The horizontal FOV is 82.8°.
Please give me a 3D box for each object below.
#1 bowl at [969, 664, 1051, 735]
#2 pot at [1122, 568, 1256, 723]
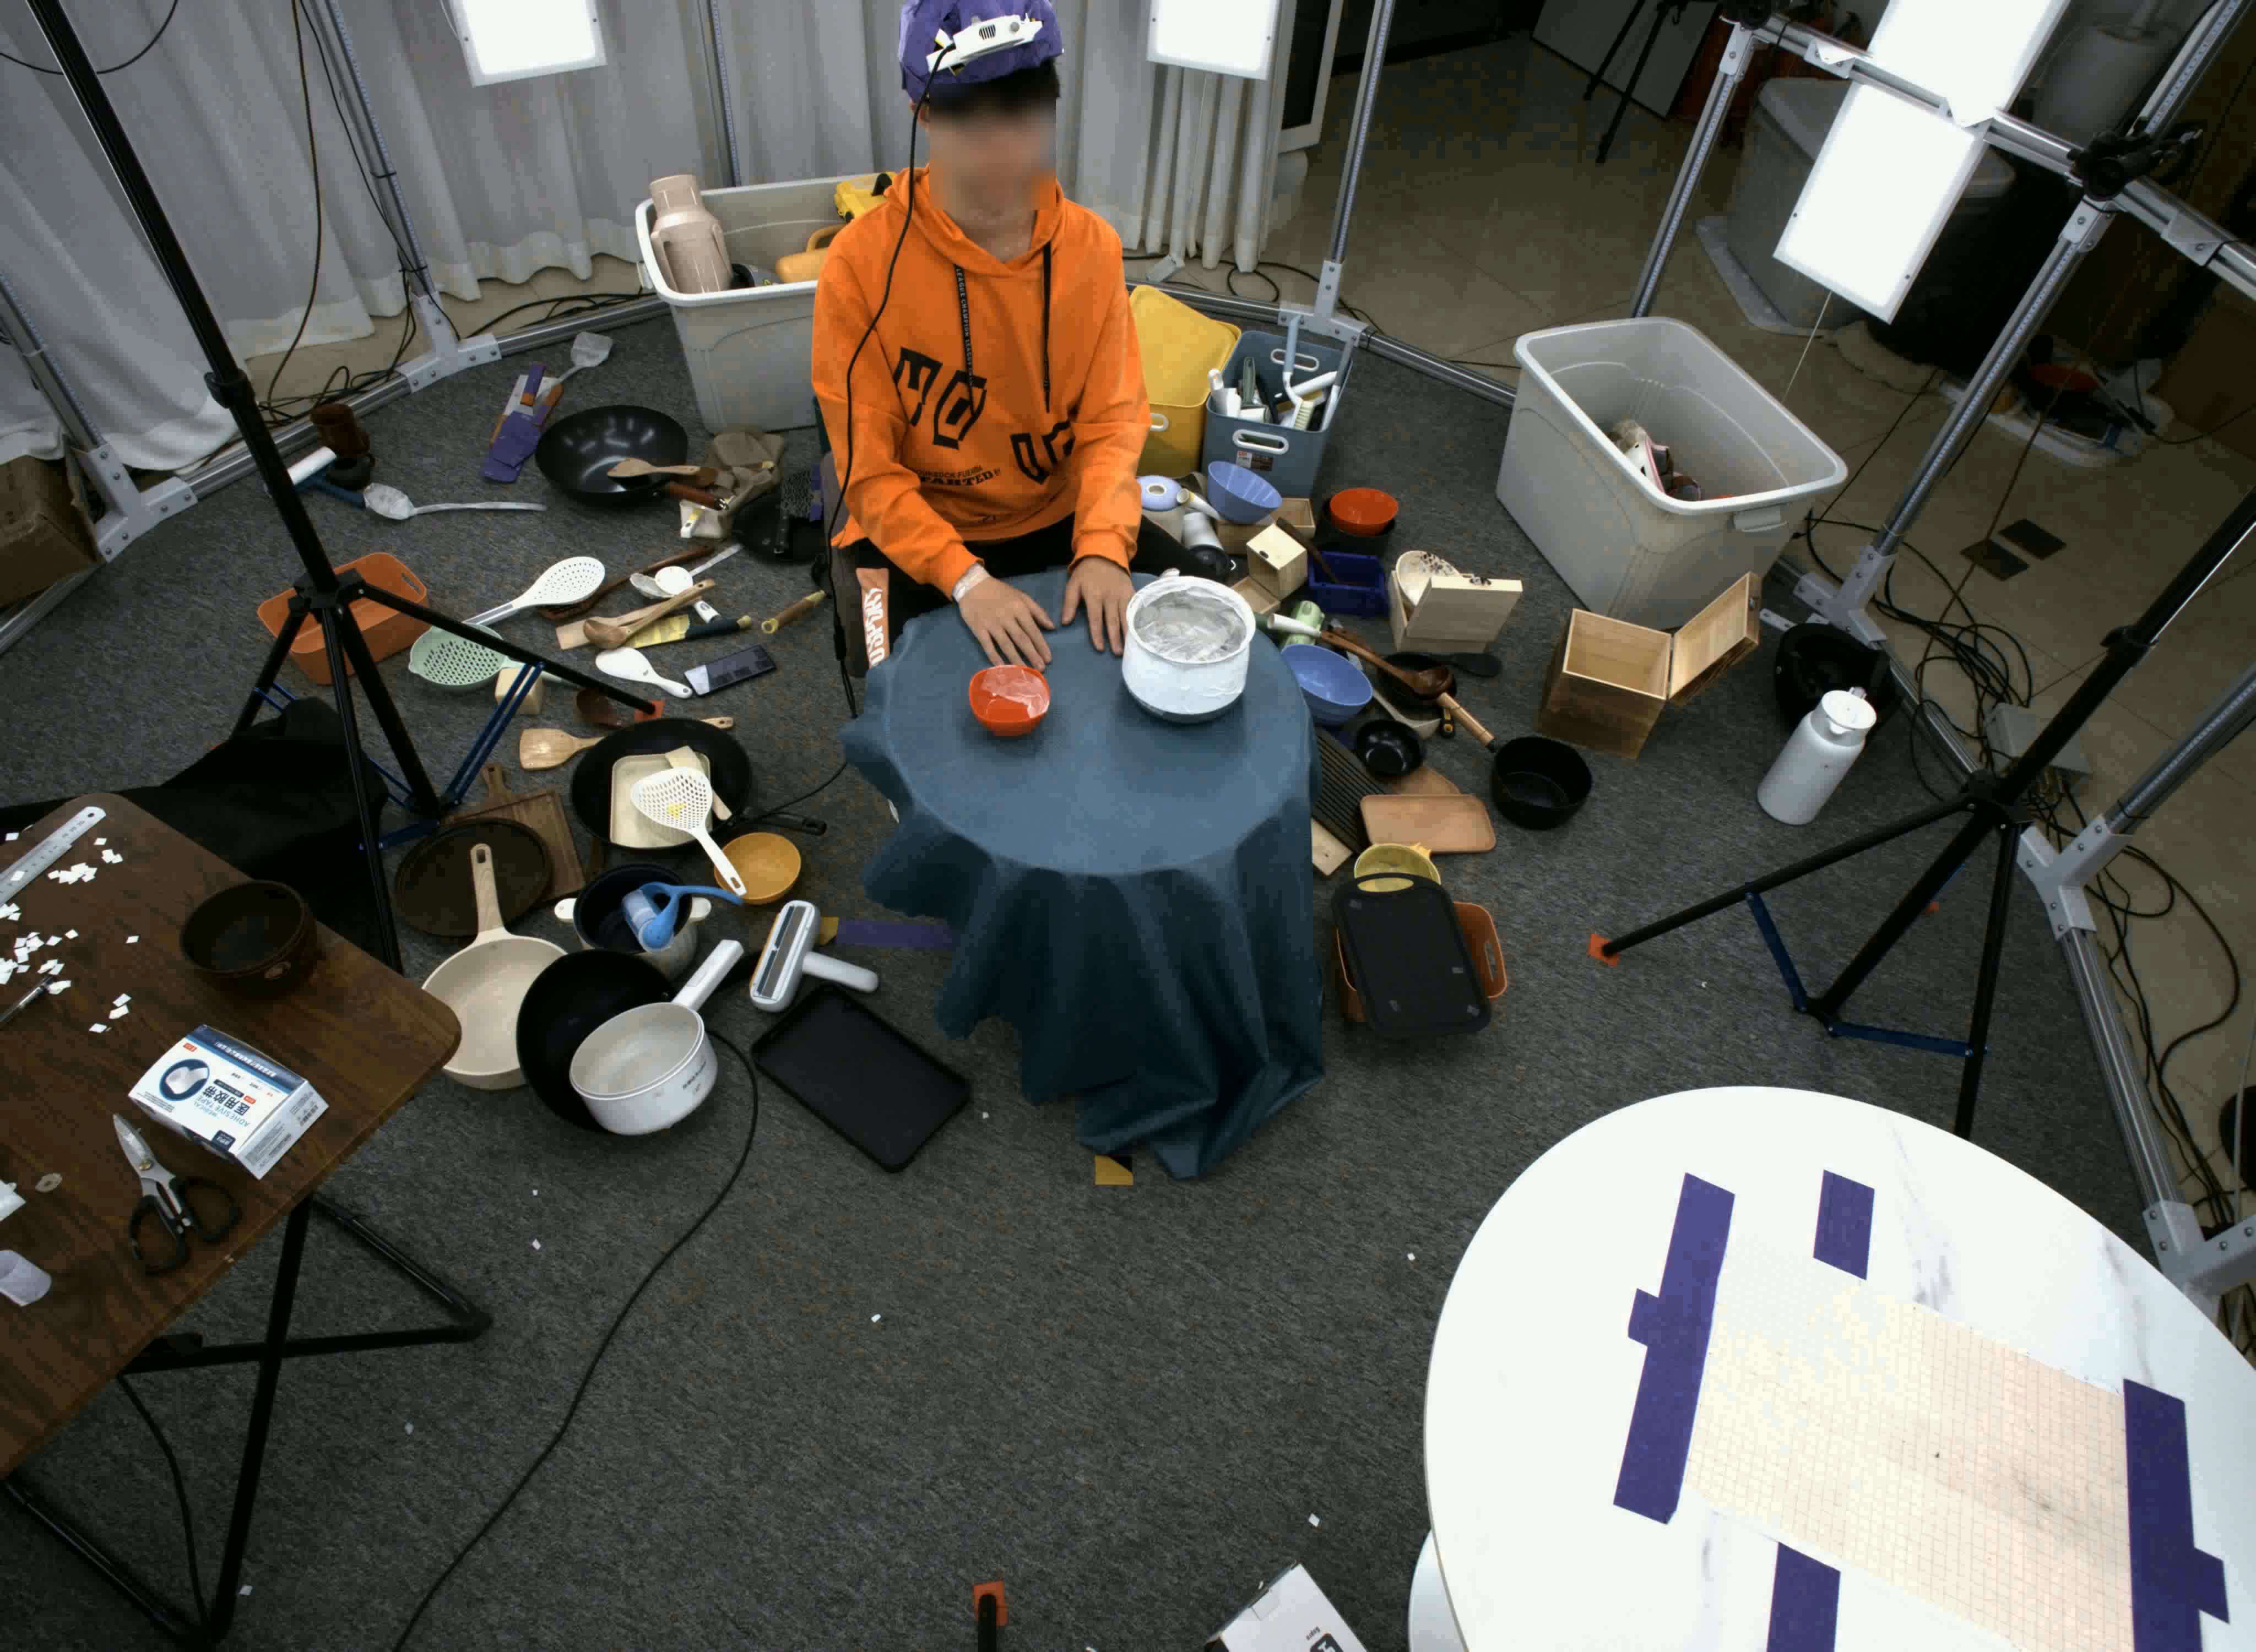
[{"bbox_3d":[-0.163,-0.167,1.769,0.119,0.050,0.122,1,51,-2],"label":"bowl"},{"bbox_3d":[0.075,-0.264,1.814,0.178,0.133,0.239,-8,51,-12],"label":"pot"}]
